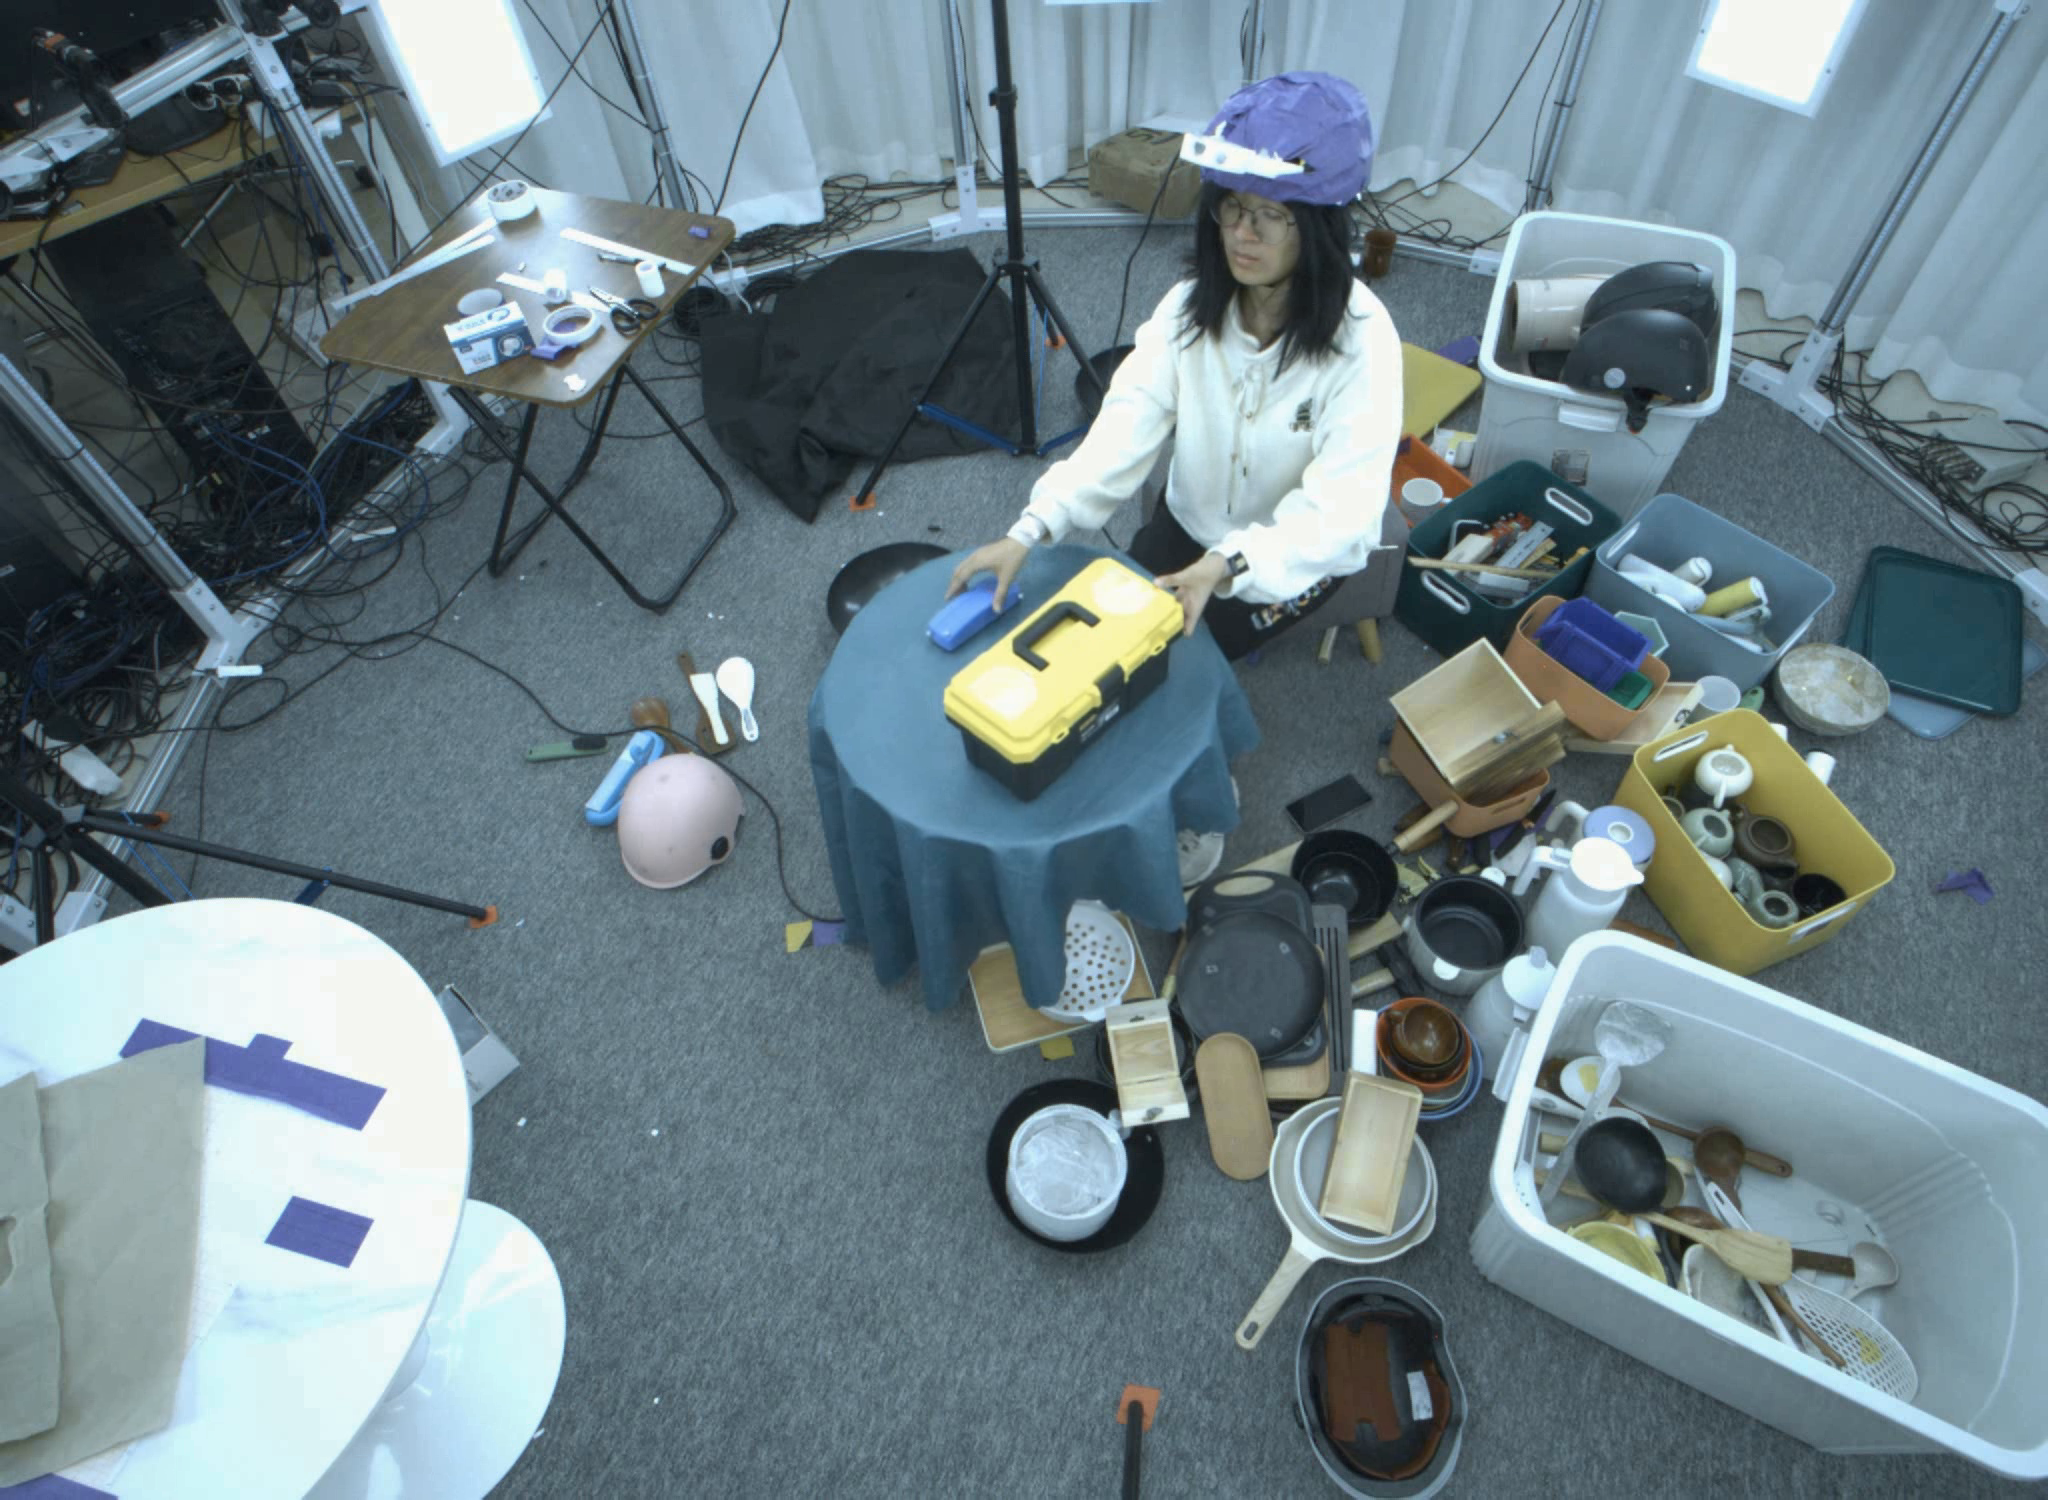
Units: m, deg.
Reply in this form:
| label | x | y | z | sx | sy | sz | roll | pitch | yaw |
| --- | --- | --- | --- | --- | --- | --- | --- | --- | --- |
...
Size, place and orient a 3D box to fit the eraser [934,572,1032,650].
| label | x | y | z | sx | sy | sz | roll | pitch | yaw |
| --- | --- | --- | --- | --- | --- | --- | --- | --- | --- |
| eraser | -0.065 | -0.222 | 1.909 | 0.163 | 0.048 | 0.052 | -35 | 52 | -18 |

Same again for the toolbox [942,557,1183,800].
| label | x | y | z | sx | sy | sz | roll | pitch | yaw |
| --- | --- | --- | --- | --- | --- | --- | --- | --- | --- |
| toolbox | 0.061 | -0.101 | 1.750 | 0.178 | 0.175 | 0.354 | 36 | 64 | 26 |
